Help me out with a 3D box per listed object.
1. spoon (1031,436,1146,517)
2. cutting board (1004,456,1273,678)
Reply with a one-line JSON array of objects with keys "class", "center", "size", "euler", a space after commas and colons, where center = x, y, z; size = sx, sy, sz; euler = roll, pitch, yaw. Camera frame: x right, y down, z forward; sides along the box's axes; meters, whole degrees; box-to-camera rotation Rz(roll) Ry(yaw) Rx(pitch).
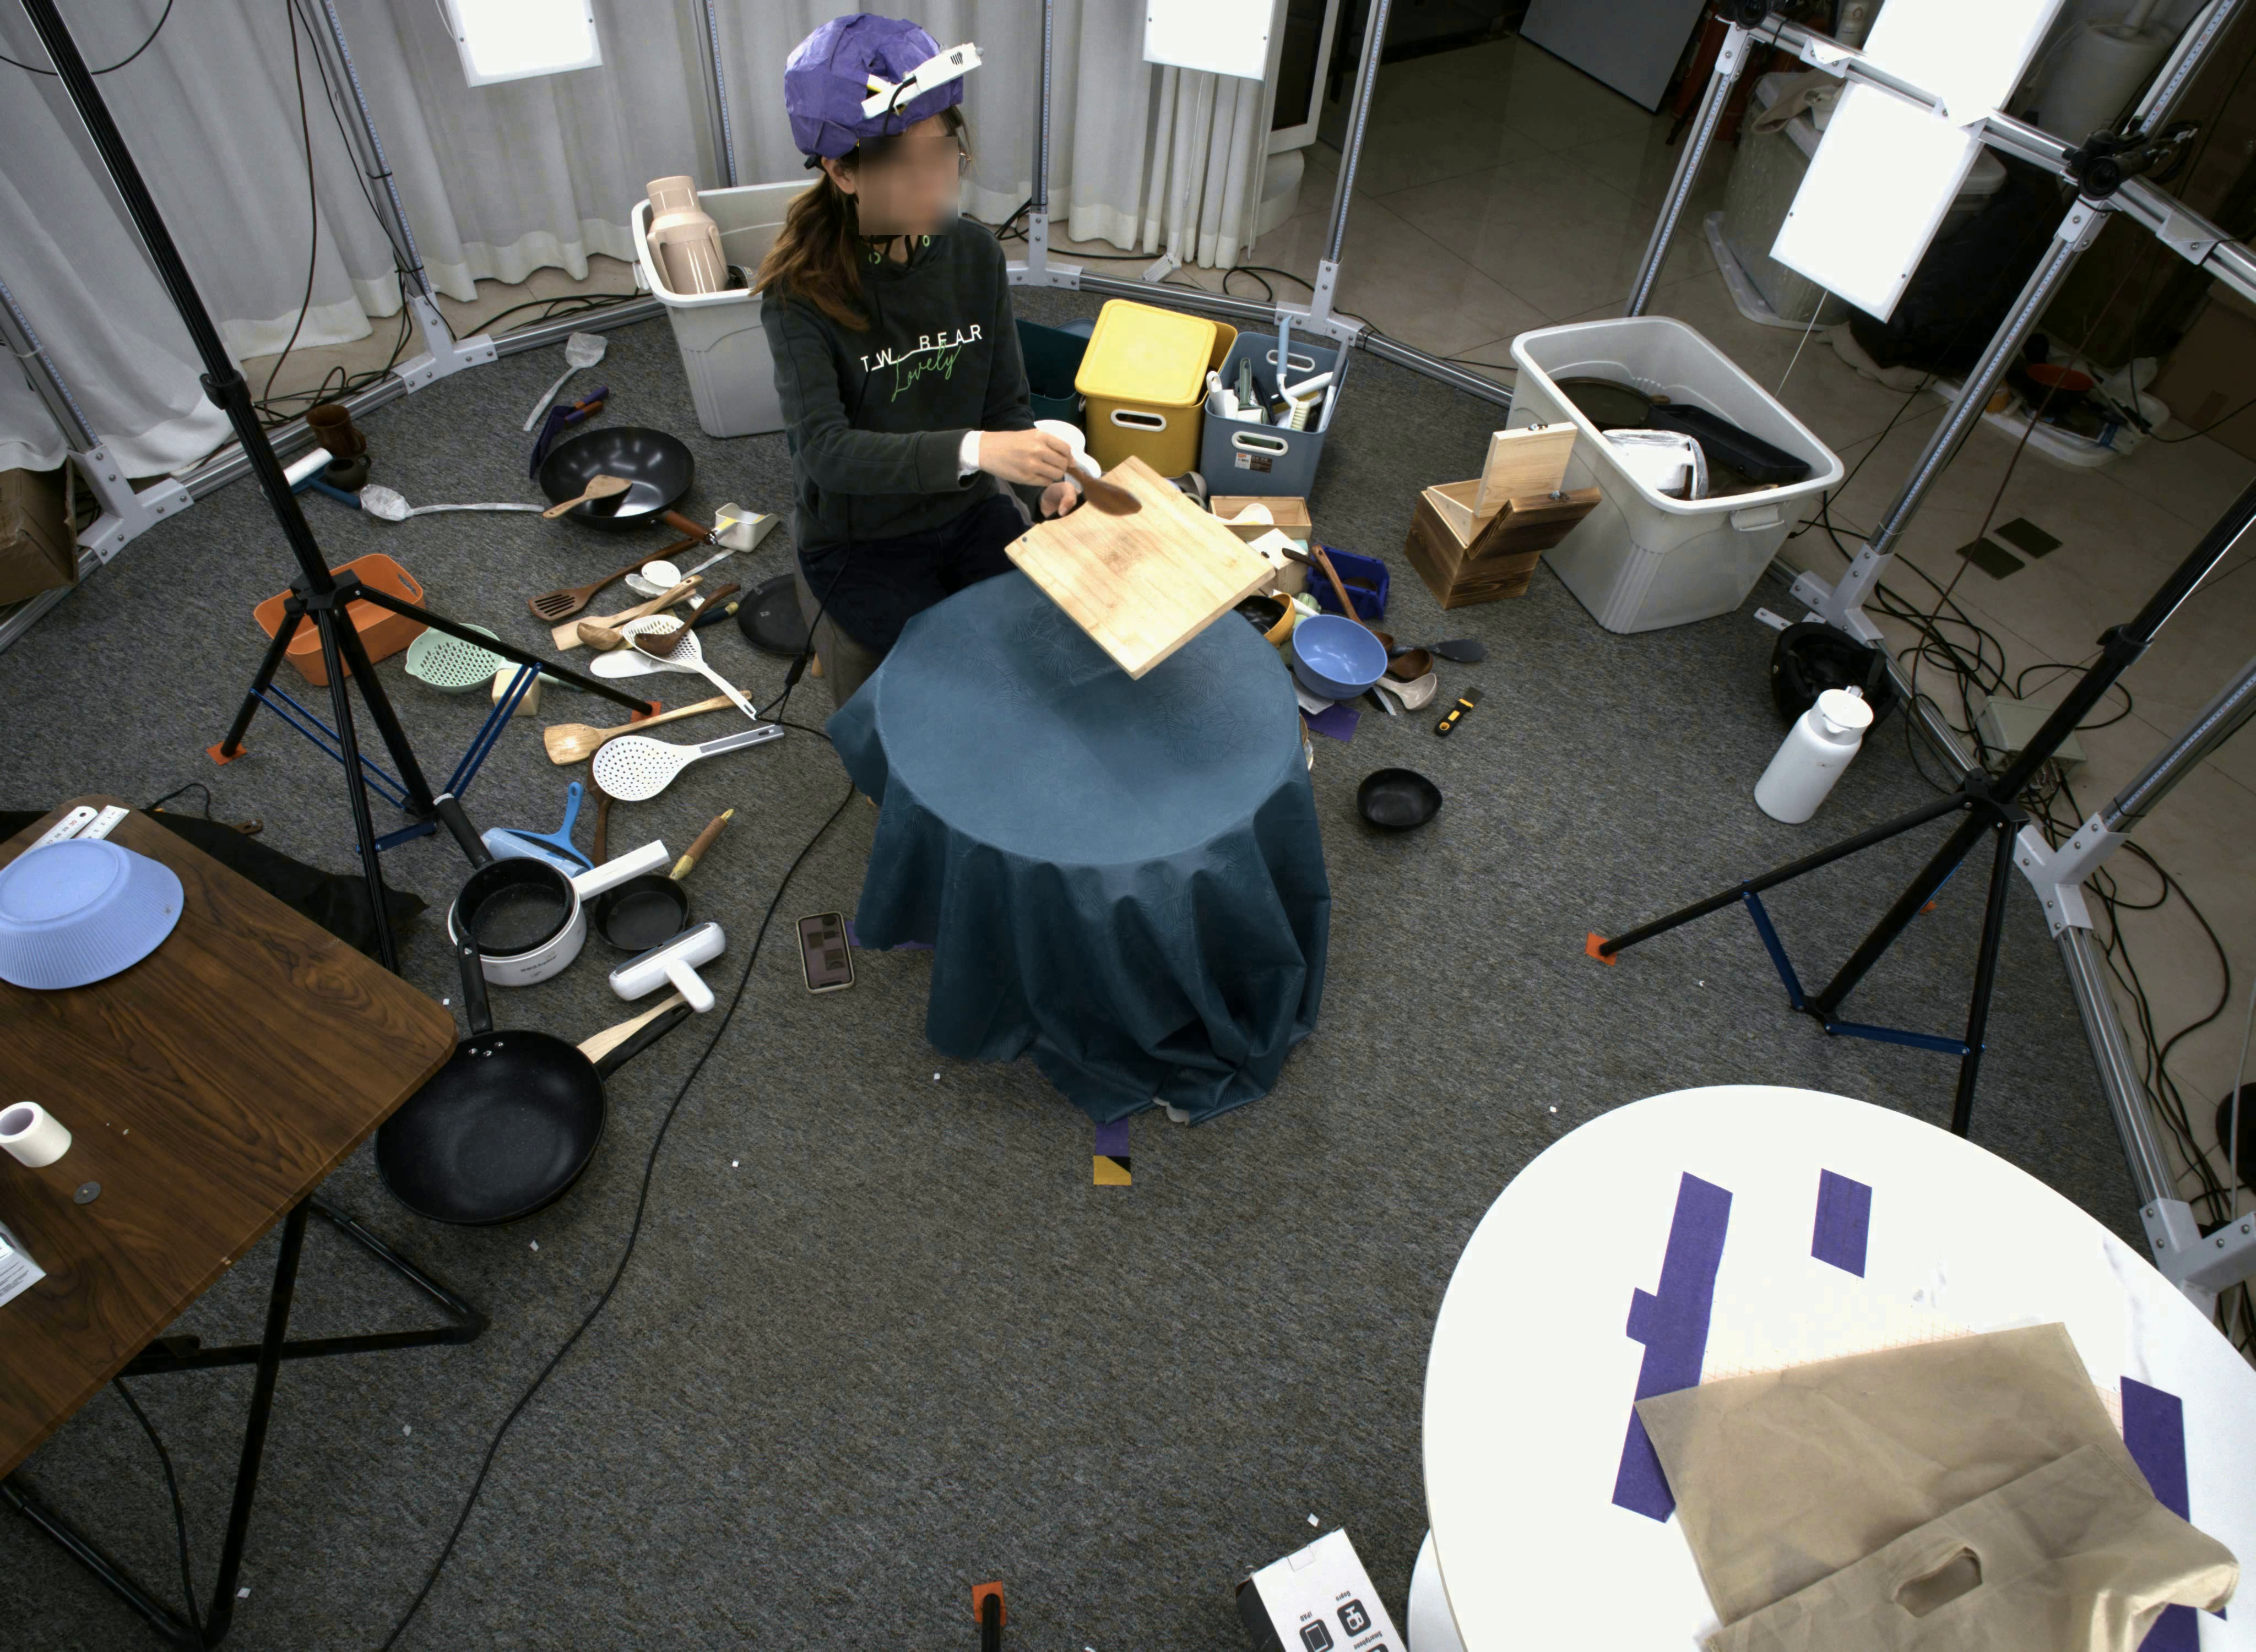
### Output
[{"class": "spoon", "center": [-0.054, -0.459, 1.719], "size": [0.076, 0.212, 0.017], "euler": [8, 79, 40]}, {"class": "cutting board", "center": [0.007, -0.371, 1.807], "size": [0.251, 0.023, 0.356], "euler": [-37, 52, -8]}]
